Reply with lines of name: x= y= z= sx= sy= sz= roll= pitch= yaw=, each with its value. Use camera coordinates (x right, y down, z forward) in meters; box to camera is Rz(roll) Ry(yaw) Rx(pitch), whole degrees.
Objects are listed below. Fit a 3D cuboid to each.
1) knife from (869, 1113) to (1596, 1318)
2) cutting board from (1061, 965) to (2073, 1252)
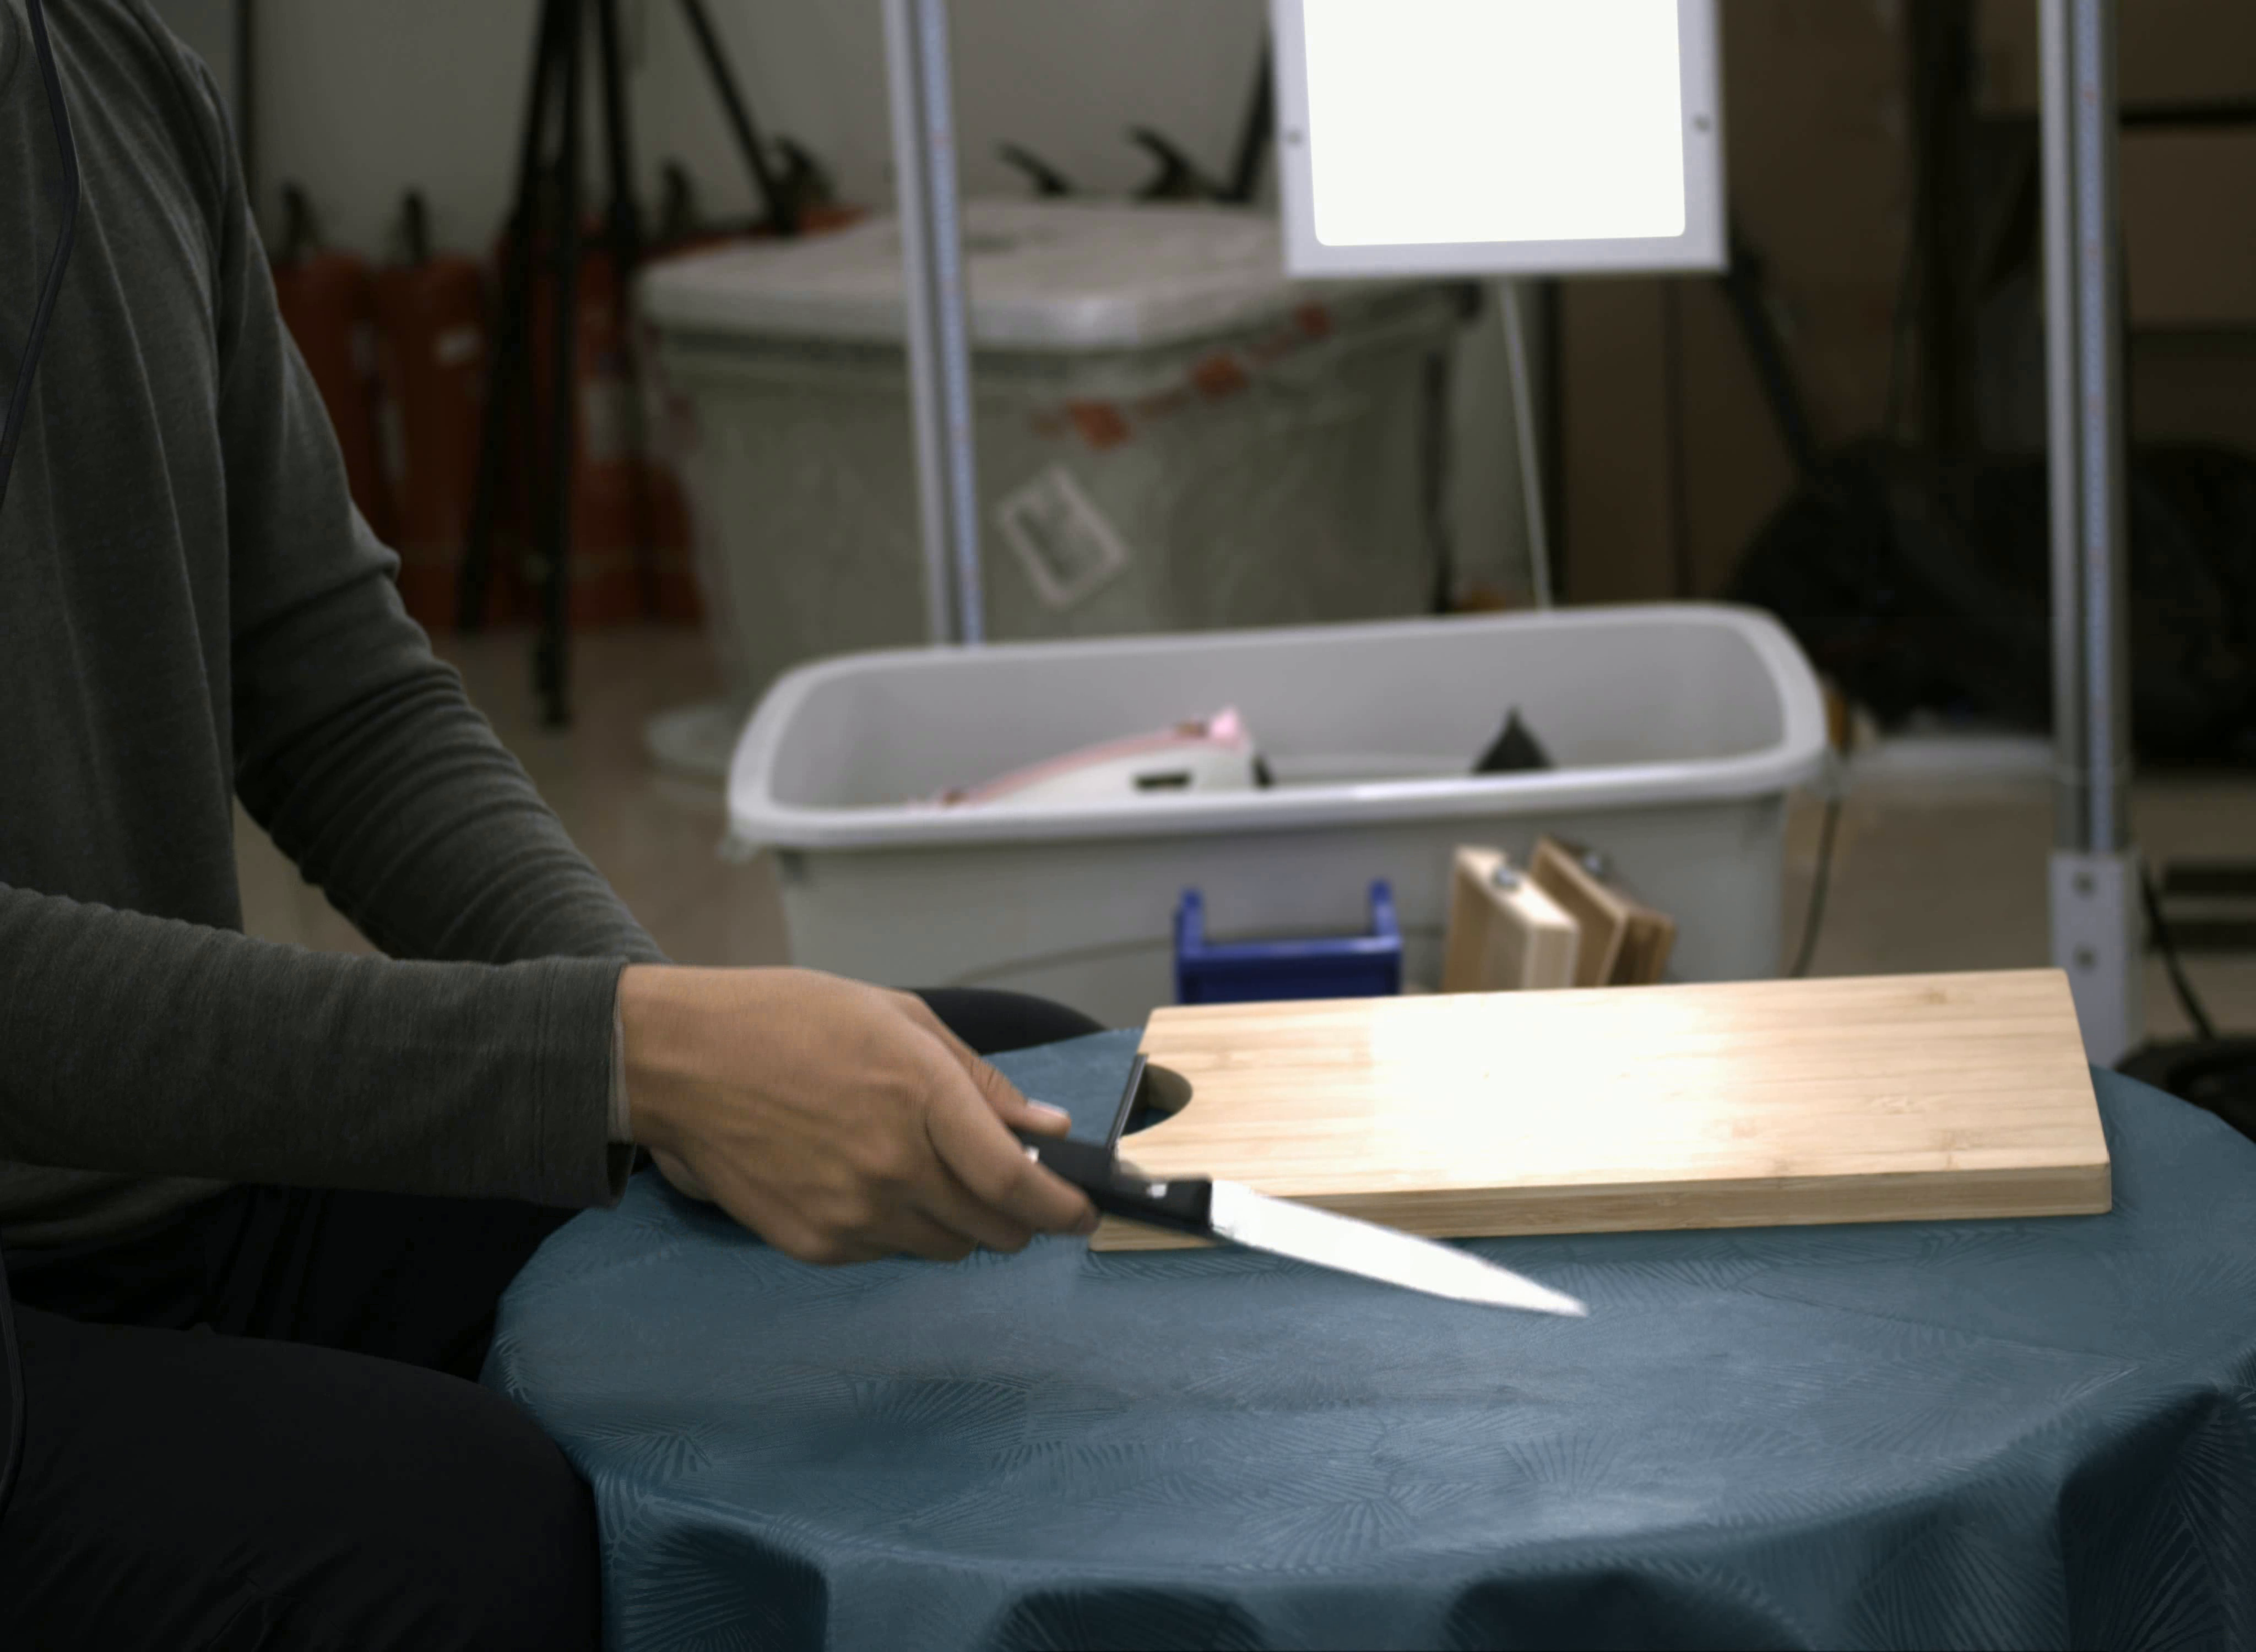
knife: x=0.029 y=0.124 z=1.700 sx=0.240 sy=0.016 sz=0.024 roll=13 pitch=47 yaw=16
cutting board: x=0.161 y=0.098 z=1.928 sx=0.350 sy=0.023 sz=0.249 roll=-3 pitch=13 yaw=8
